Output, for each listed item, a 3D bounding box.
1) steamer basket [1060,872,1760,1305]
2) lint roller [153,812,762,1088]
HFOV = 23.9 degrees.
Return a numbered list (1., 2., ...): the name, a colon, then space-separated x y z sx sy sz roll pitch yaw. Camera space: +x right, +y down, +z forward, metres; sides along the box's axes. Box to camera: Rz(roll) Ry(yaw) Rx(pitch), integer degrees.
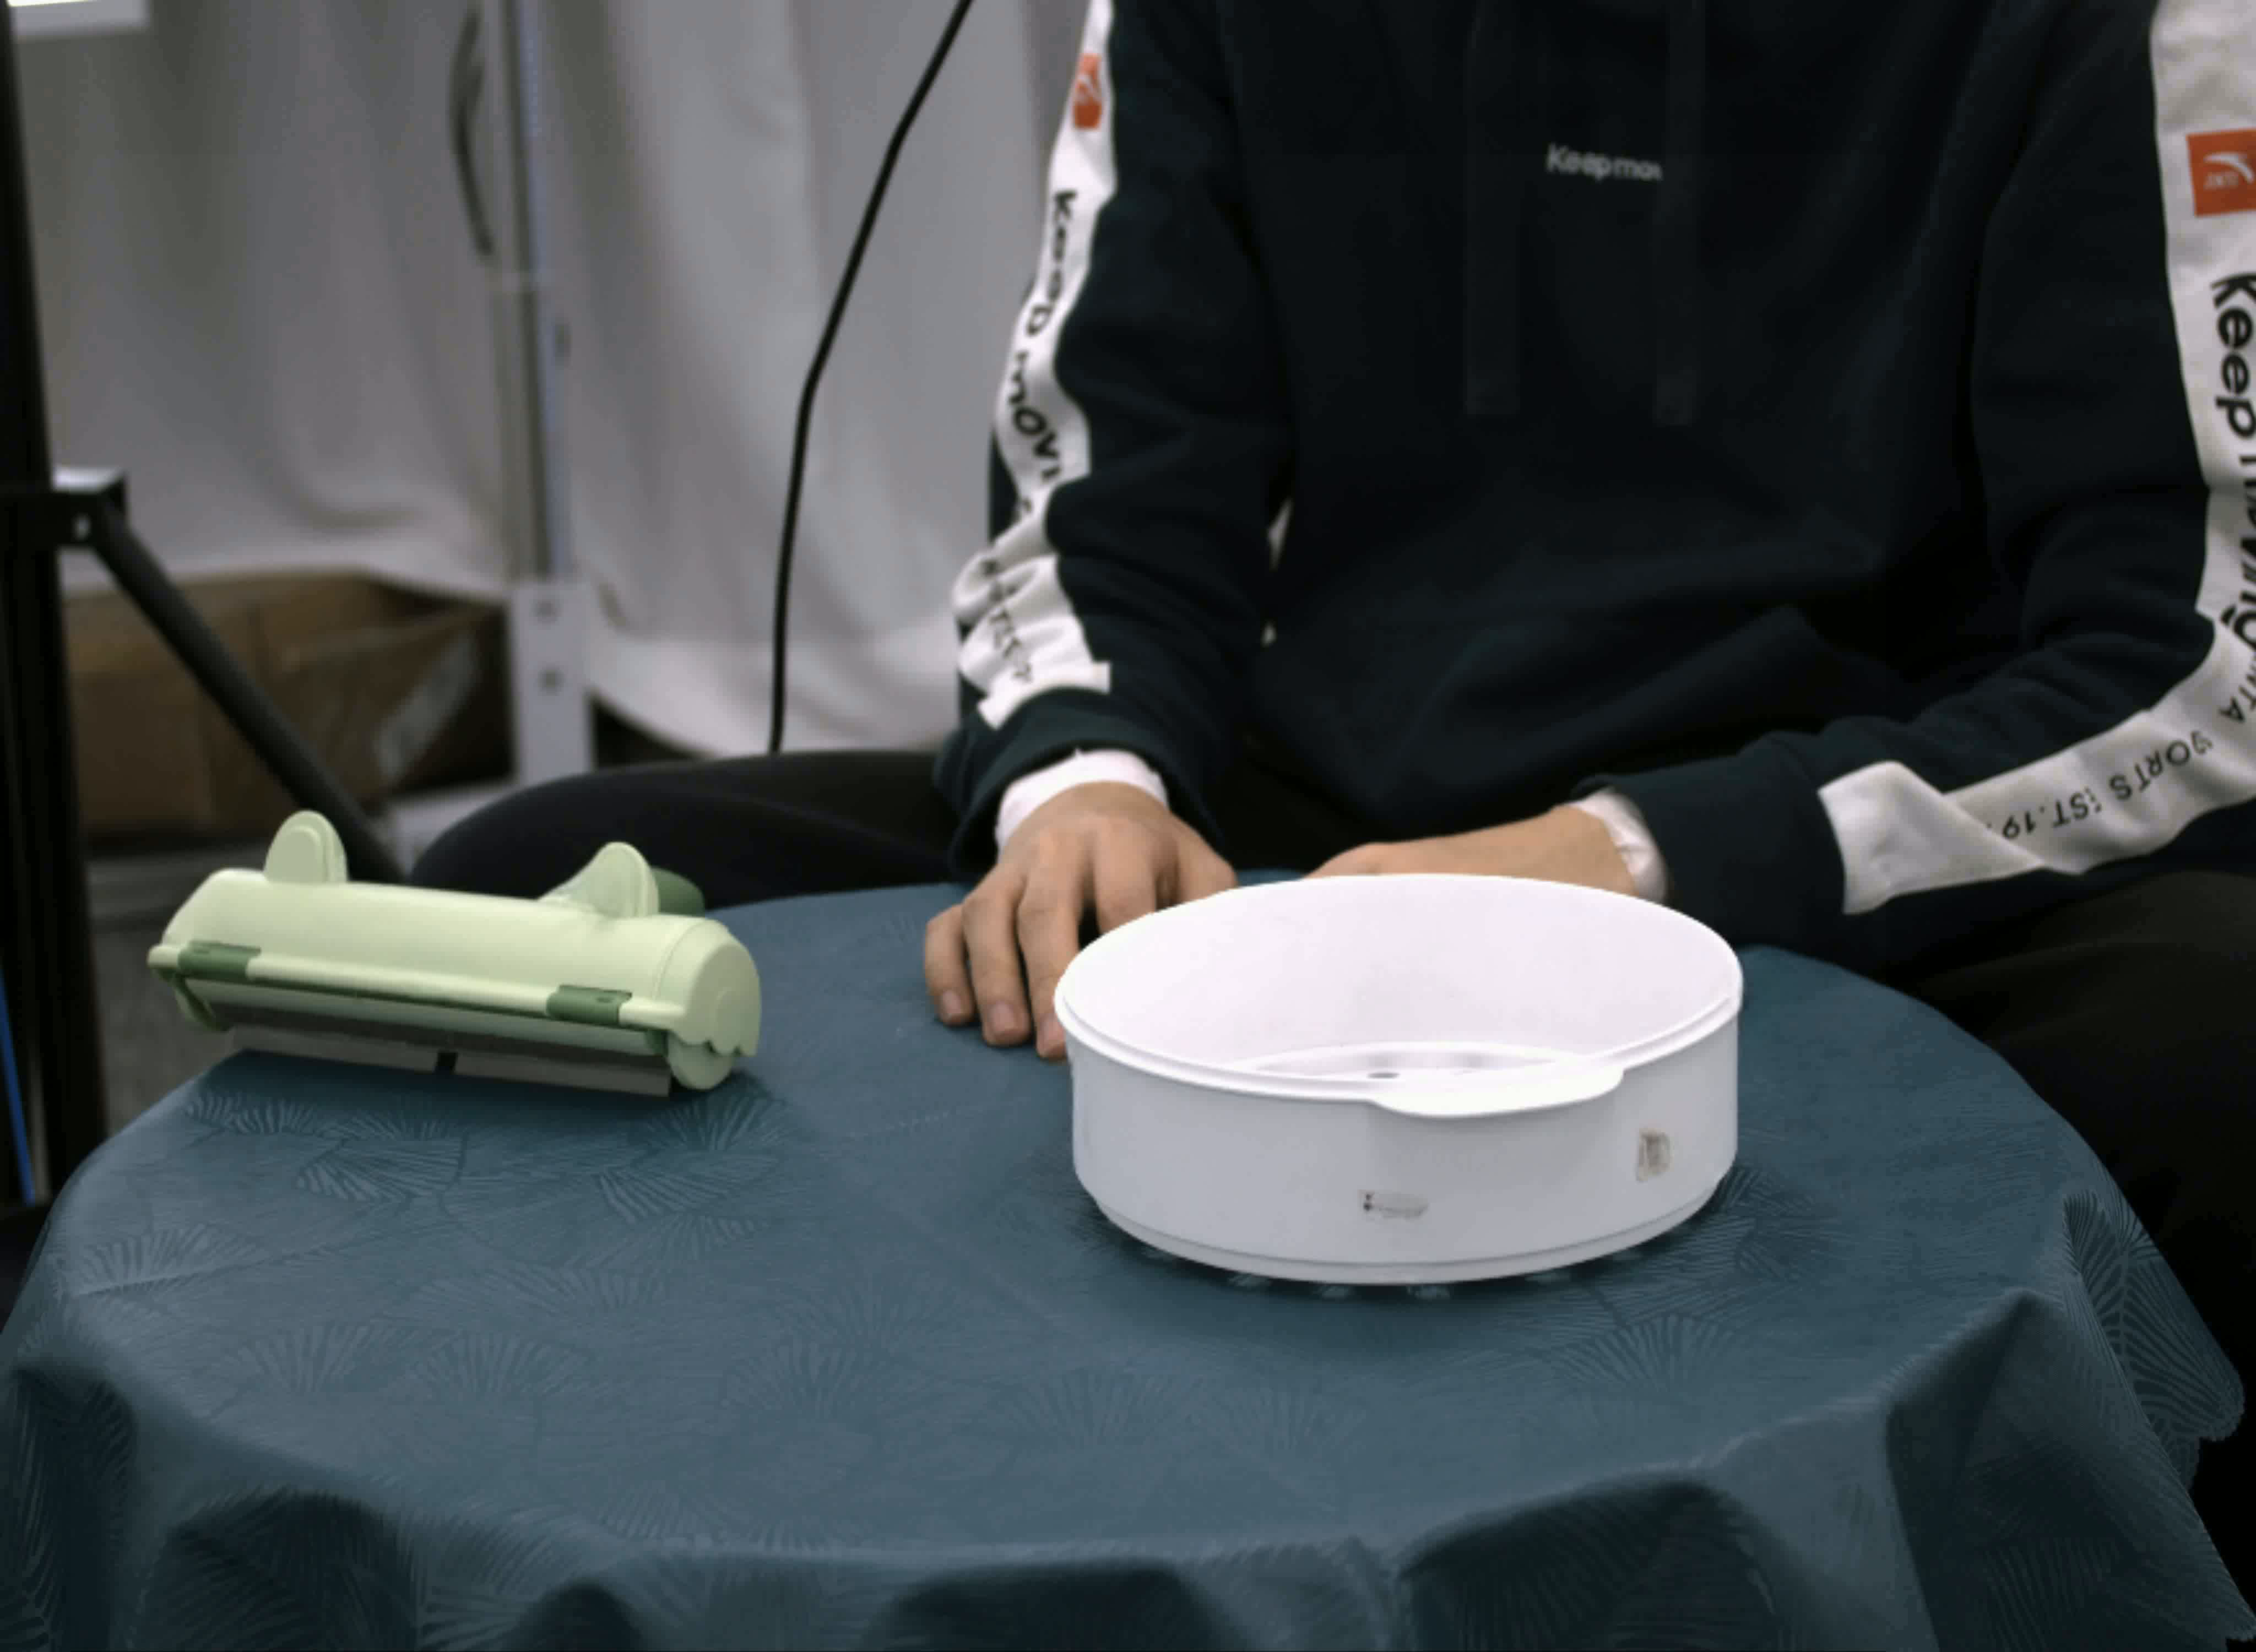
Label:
1. steamer basket: 0.082 0.075 1.533 0.199 0.069 0.234 -7 18 -12
2. lint roller: -0.190 0.024 1.747 0.202 0.082 0.181 5 22 26
